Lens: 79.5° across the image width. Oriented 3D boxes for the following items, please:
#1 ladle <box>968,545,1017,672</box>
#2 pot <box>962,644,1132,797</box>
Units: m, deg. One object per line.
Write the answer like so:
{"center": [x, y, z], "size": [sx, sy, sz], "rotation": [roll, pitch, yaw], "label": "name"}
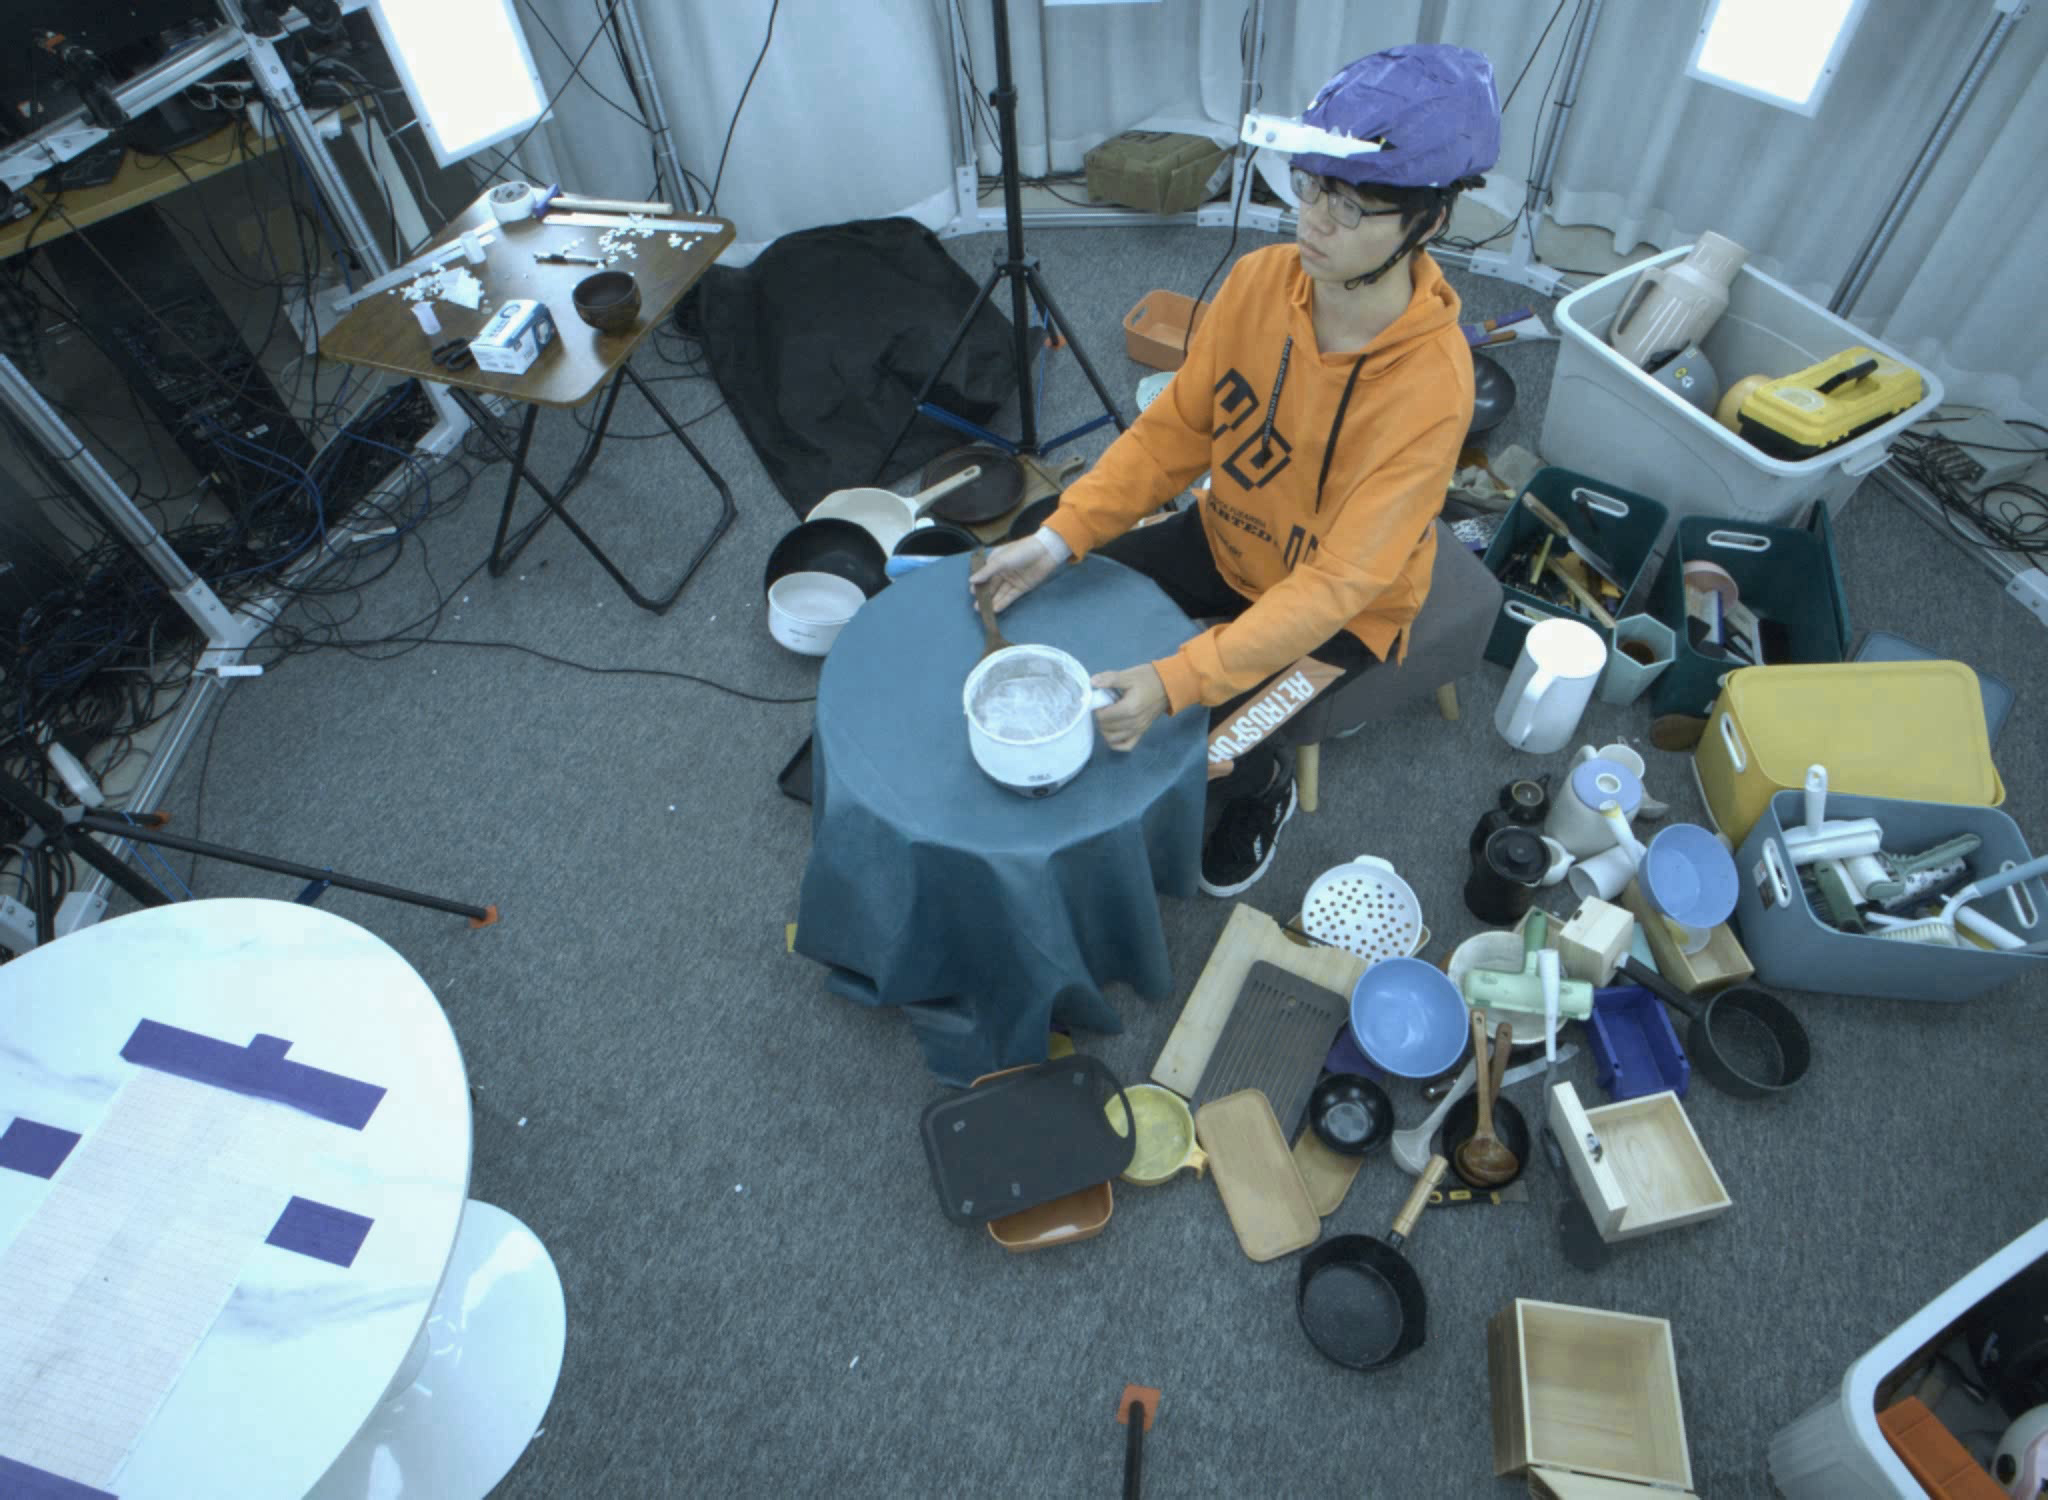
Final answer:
{"center": [-0.066, -0.229, 1.899], "size": [0.075, 0.072, 0.270], "rotation": [-18, 60, 11], "label": "ladle"}
{"center": [0.036, -0.045, 1.733], "size": [0.234, 0.138, 0.176], "rotation": [-10, 55, -3], "label": "pot"}
